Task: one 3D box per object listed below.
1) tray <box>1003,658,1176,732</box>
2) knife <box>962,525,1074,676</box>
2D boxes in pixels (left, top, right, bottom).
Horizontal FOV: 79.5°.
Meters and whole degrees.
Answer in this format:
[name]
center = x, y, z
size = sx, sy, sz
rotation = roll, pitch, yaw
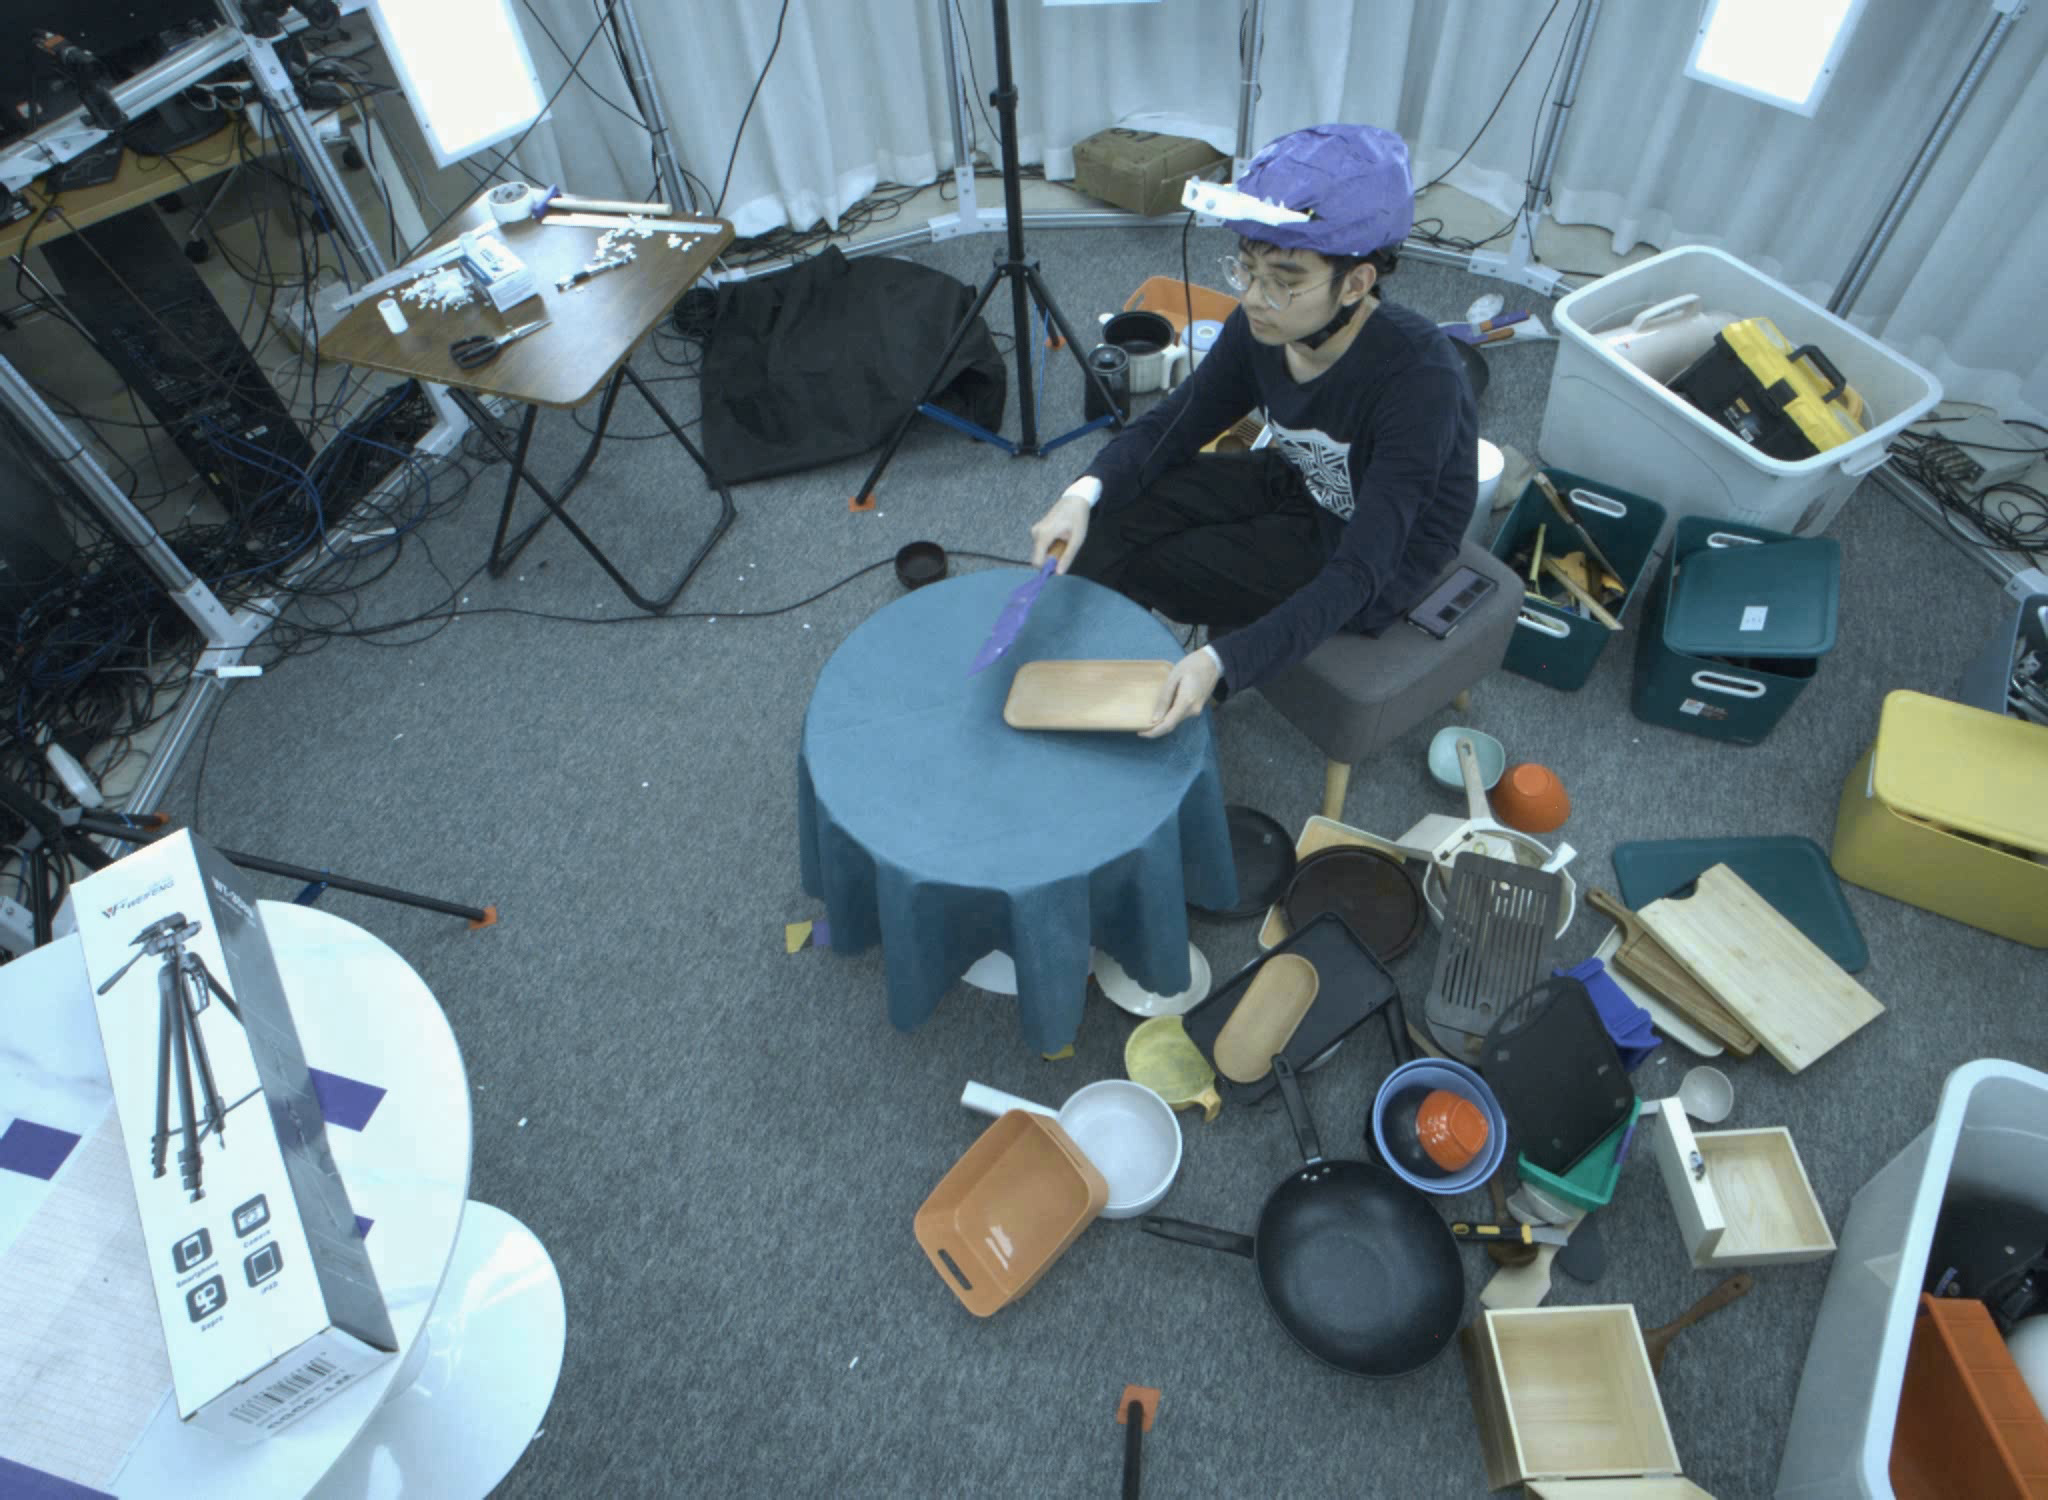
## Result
[tray]
center = 0.096, -0.081, 1.808
size = 0.247, 0.023, 0.130
rotation = 3, 52, 22
[knife]
center = -0.013, -0.228, 1.846
size = 0.102, 0.033, 0.315
rotation = -21, 30, 43
